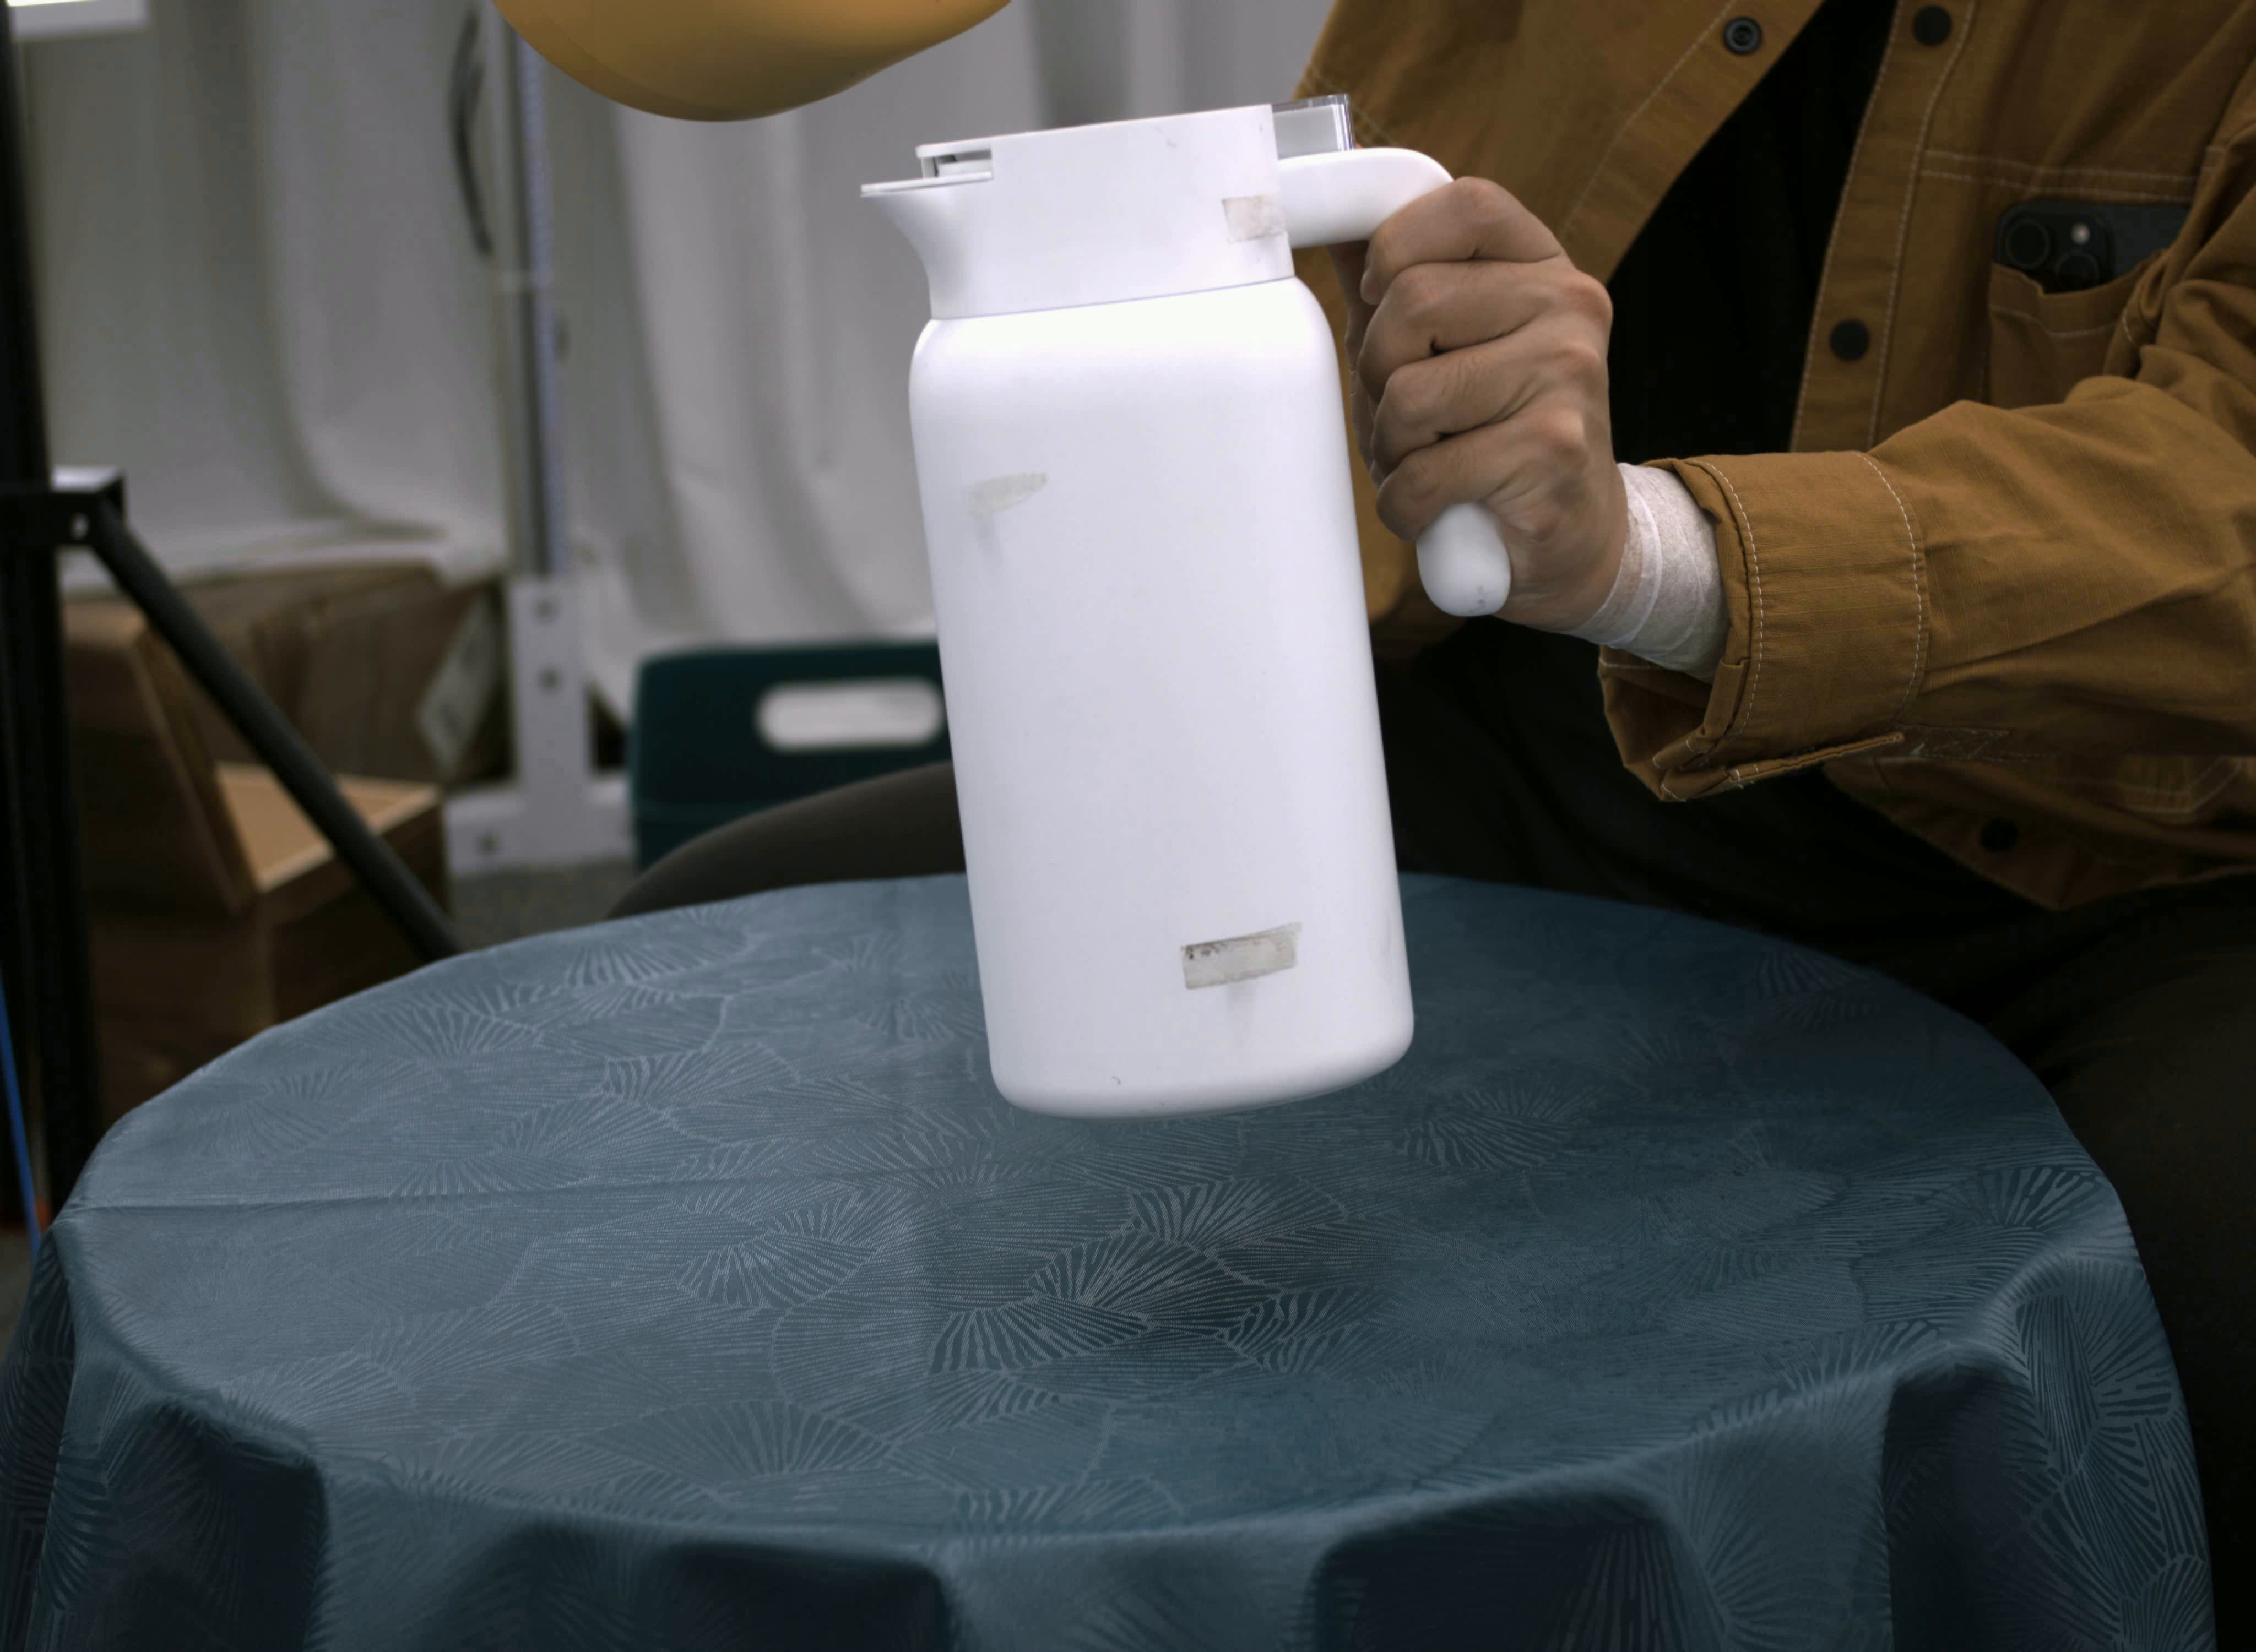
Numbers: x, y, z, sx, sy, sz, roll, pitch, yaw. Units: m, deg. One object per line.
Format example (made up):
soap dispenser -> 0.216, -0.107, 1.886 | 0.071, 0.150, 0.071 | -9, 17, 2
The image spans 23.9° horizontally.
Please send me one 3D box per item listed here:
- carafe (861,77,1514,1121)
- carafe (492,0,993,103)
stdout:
carafe -> 0.022, -0.063, 1.445 | 0.169, 0.270, 0.126 | -9, 4, -21
carafe -> -0.090, -0.318, 1.513 | 0.160, 0.203, 0.265 | -15, 6, -28
